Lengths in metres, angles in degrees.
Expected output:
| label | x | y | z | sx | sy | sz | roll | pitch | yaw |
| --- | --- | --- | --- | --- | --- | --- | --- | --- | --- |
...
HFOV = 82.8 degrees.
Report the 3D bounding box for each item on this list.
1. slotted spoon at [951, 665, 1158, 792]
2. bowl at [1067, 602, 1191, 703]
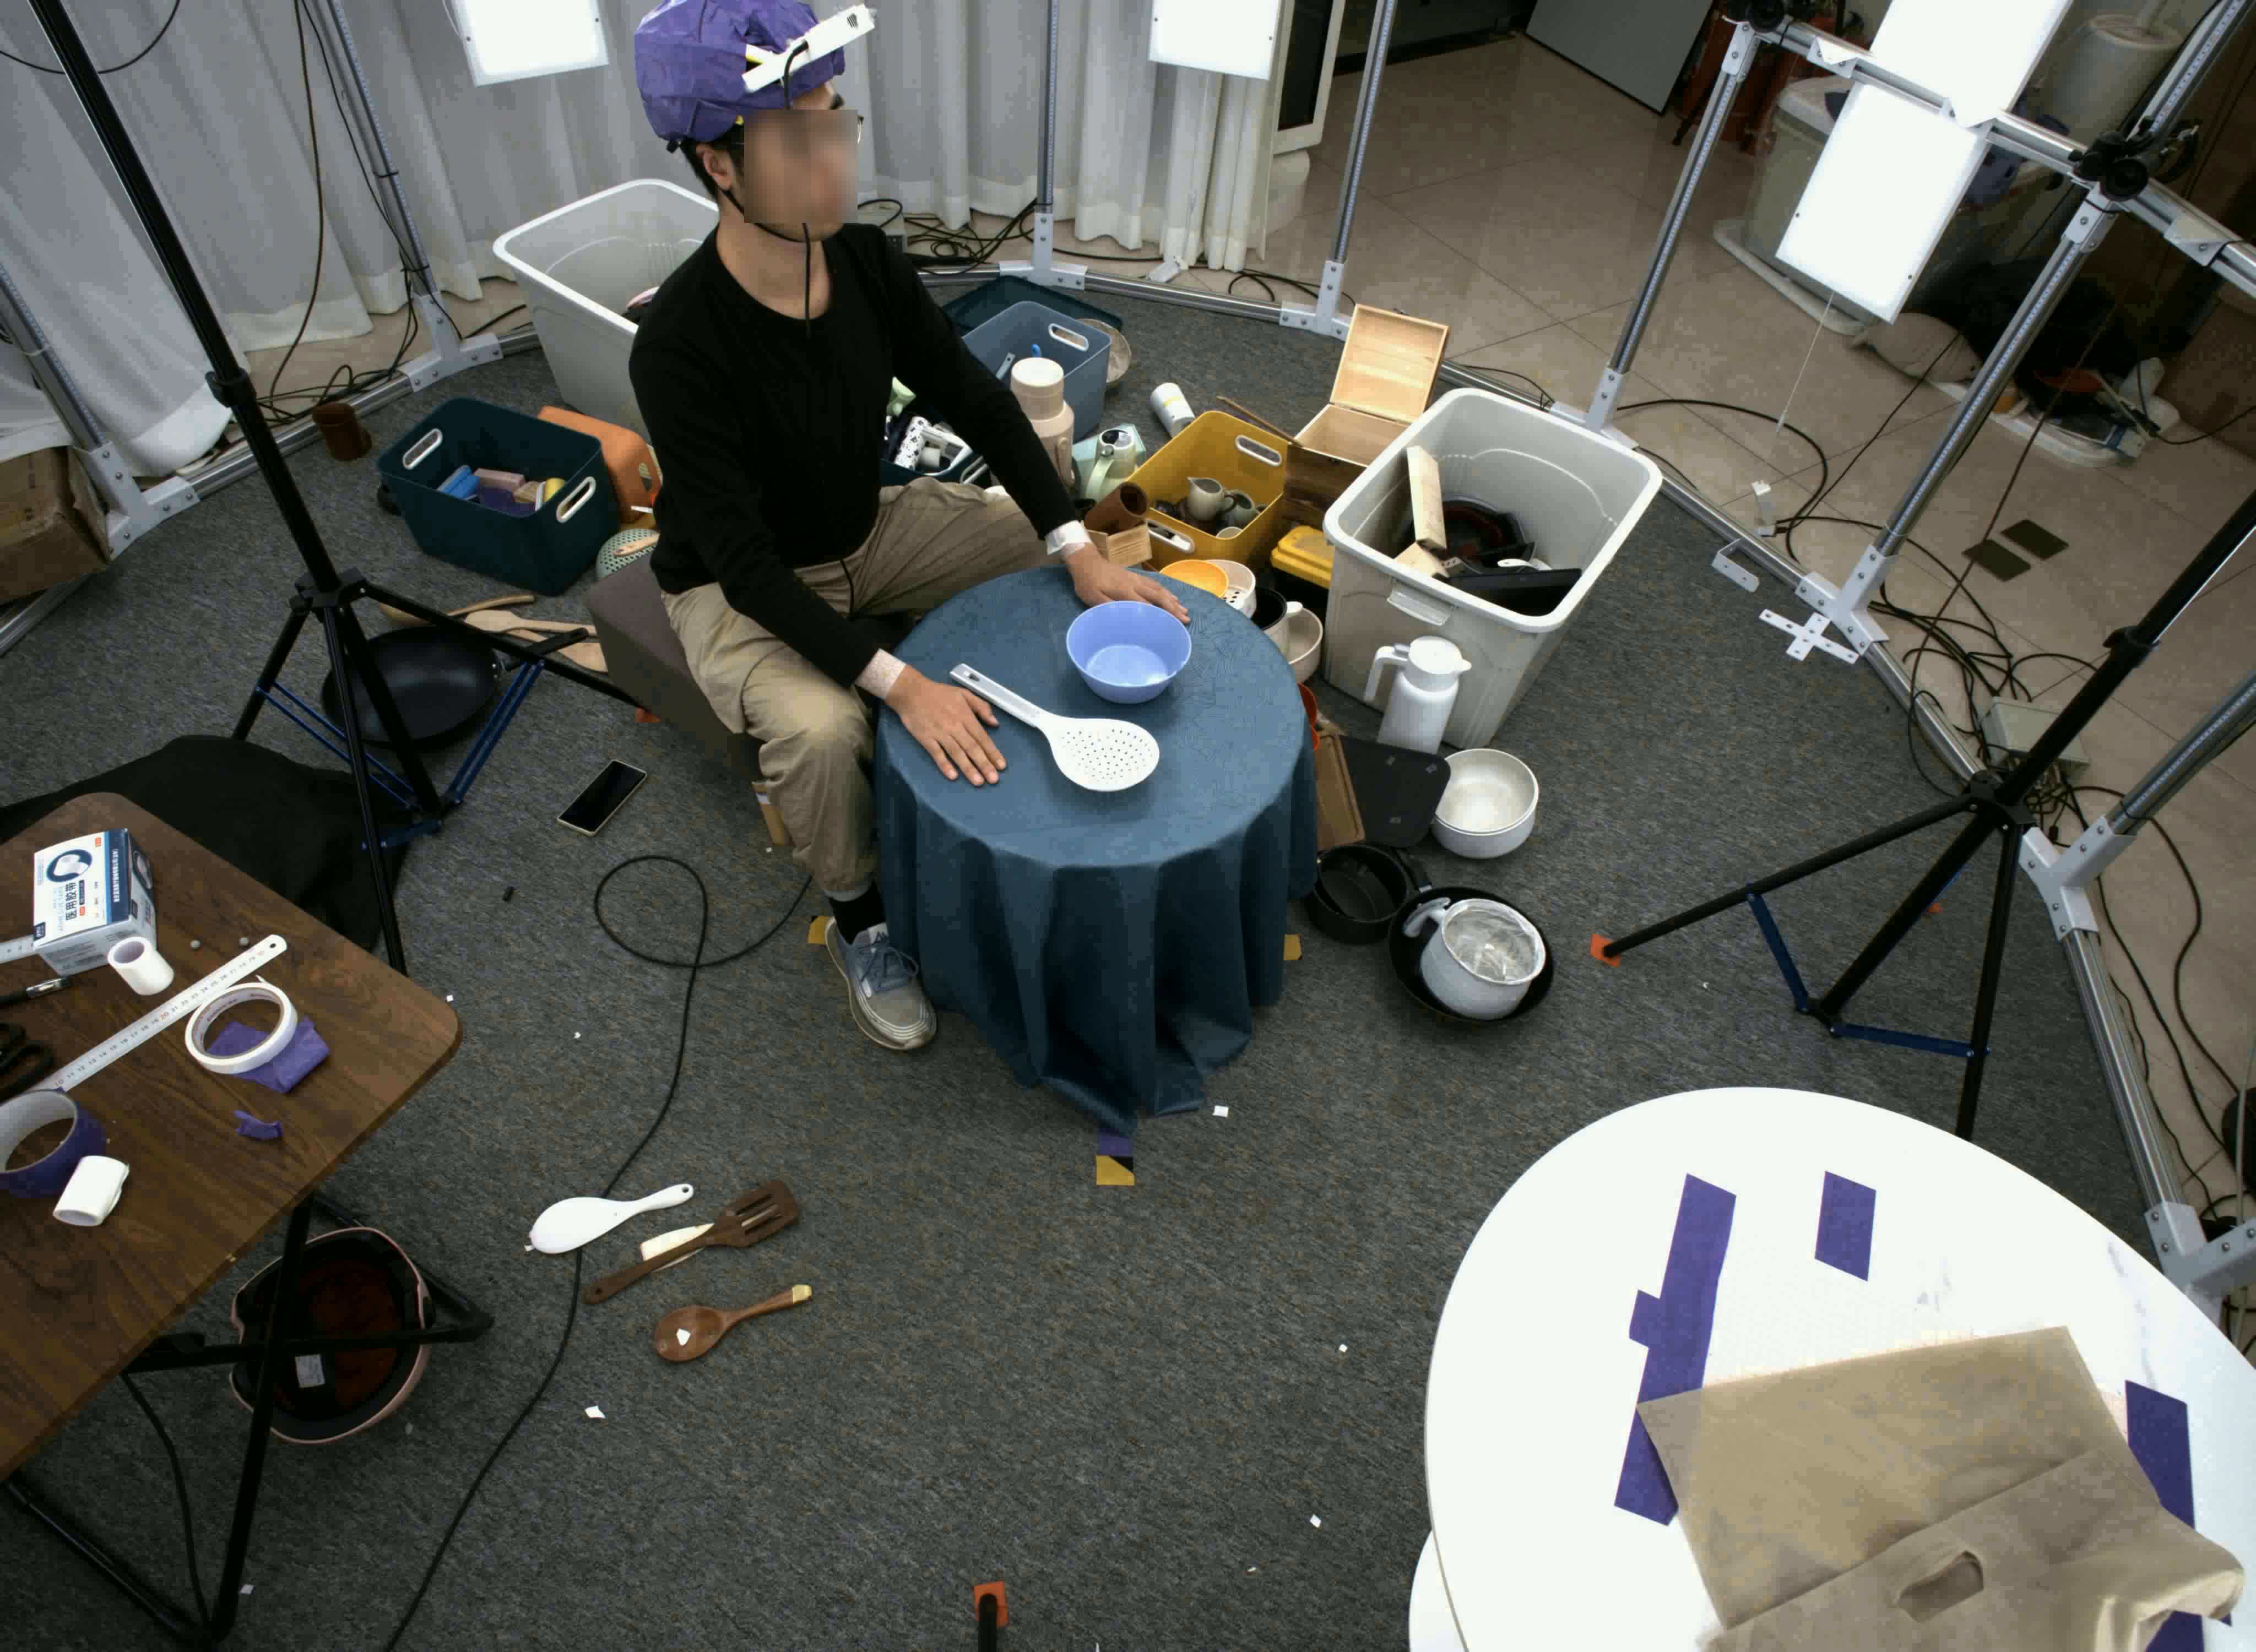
| label | x | y | z | sx | sy | sz | roll | pitch | yaw |
| --- | --- | --- | --- | --- | --- | --- | --- | --- | --- |
| slotted spoon | -0.111 | -0.140 | 1.755 | 0.354 | 0.044 | 0.137 | 33 | 55 | 24 |
| bowl | -0.001 | -0.239 | 1.832 | 0.176 | 0.068 | 0.180 | 2 | 48 | -2 |
